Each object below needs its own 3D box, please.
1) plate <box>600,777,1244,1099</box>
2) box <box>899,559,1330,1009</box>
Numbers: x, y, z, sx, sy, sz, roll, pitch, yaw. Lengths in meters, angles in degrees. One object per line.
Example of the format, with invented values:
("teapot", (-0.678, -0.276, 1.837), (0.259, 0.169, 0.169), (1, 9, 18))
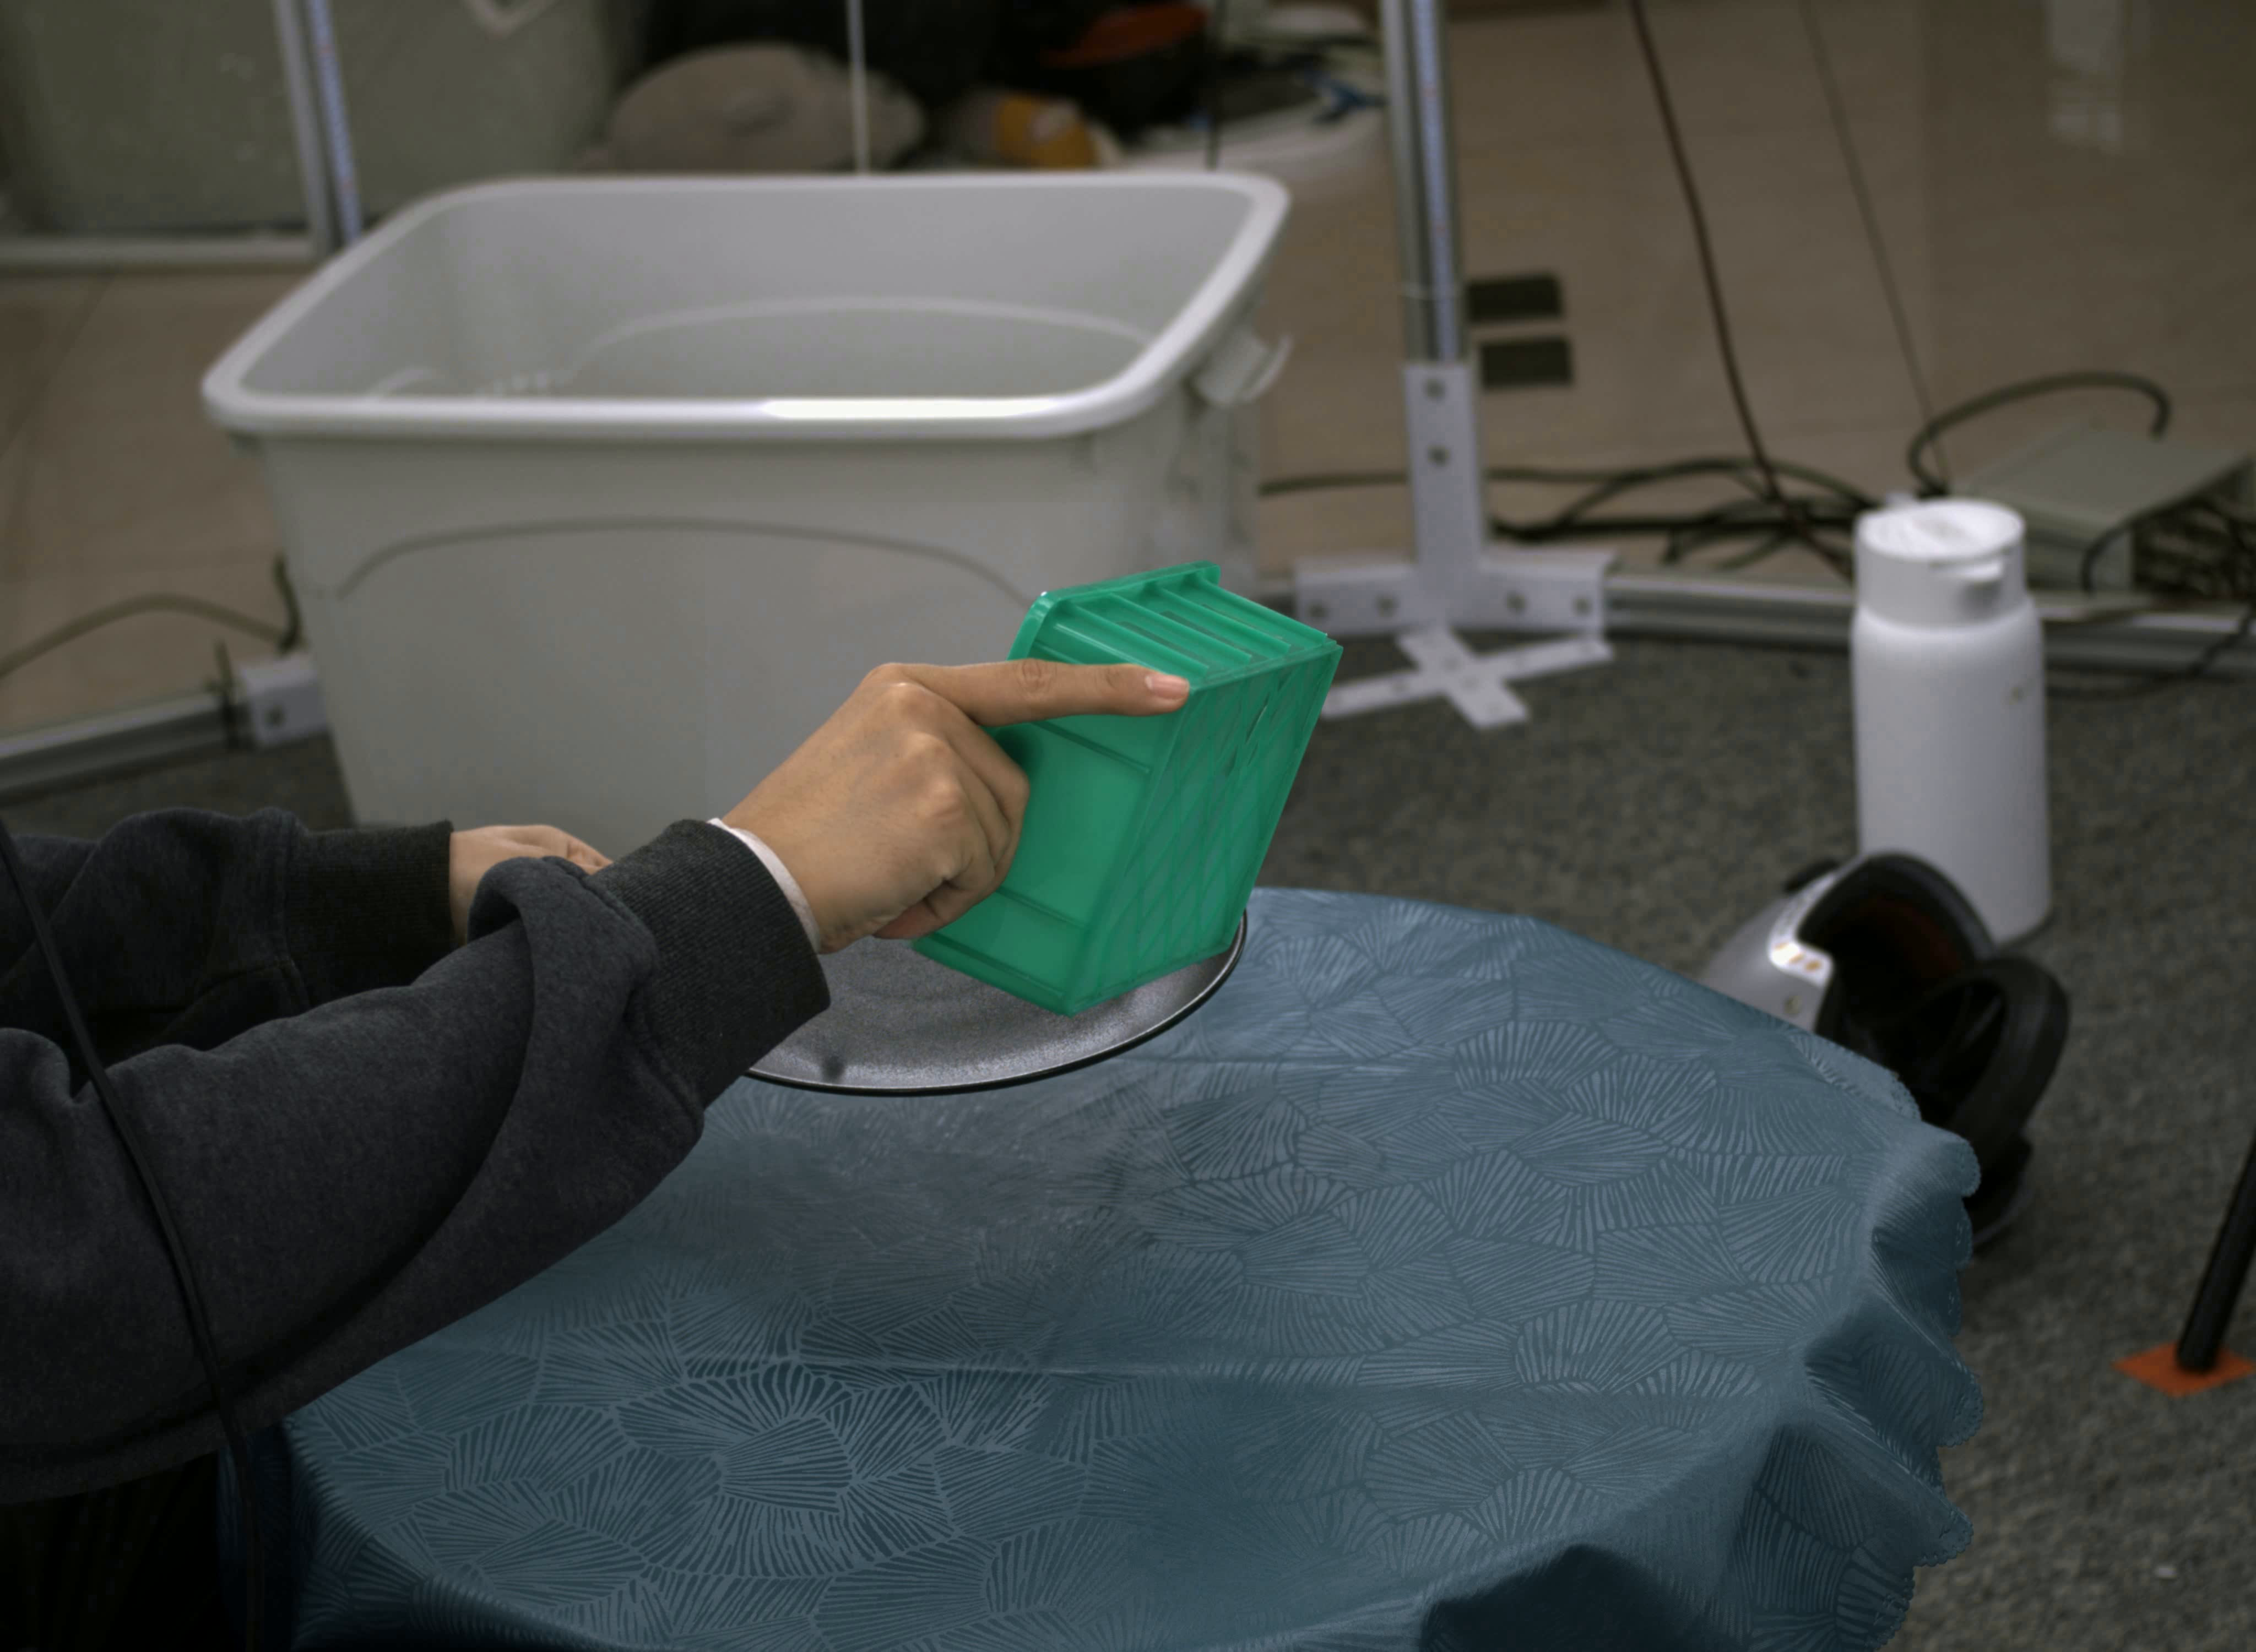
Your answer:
("plate", (-0.077, 0.046, 2.135), (0.244, 0.024, 0.240), (-1, 29, 1))
("box", (0.001, -0.013, 1.928), (0.065, 0.140, 0.209), (22, 11, 13))
